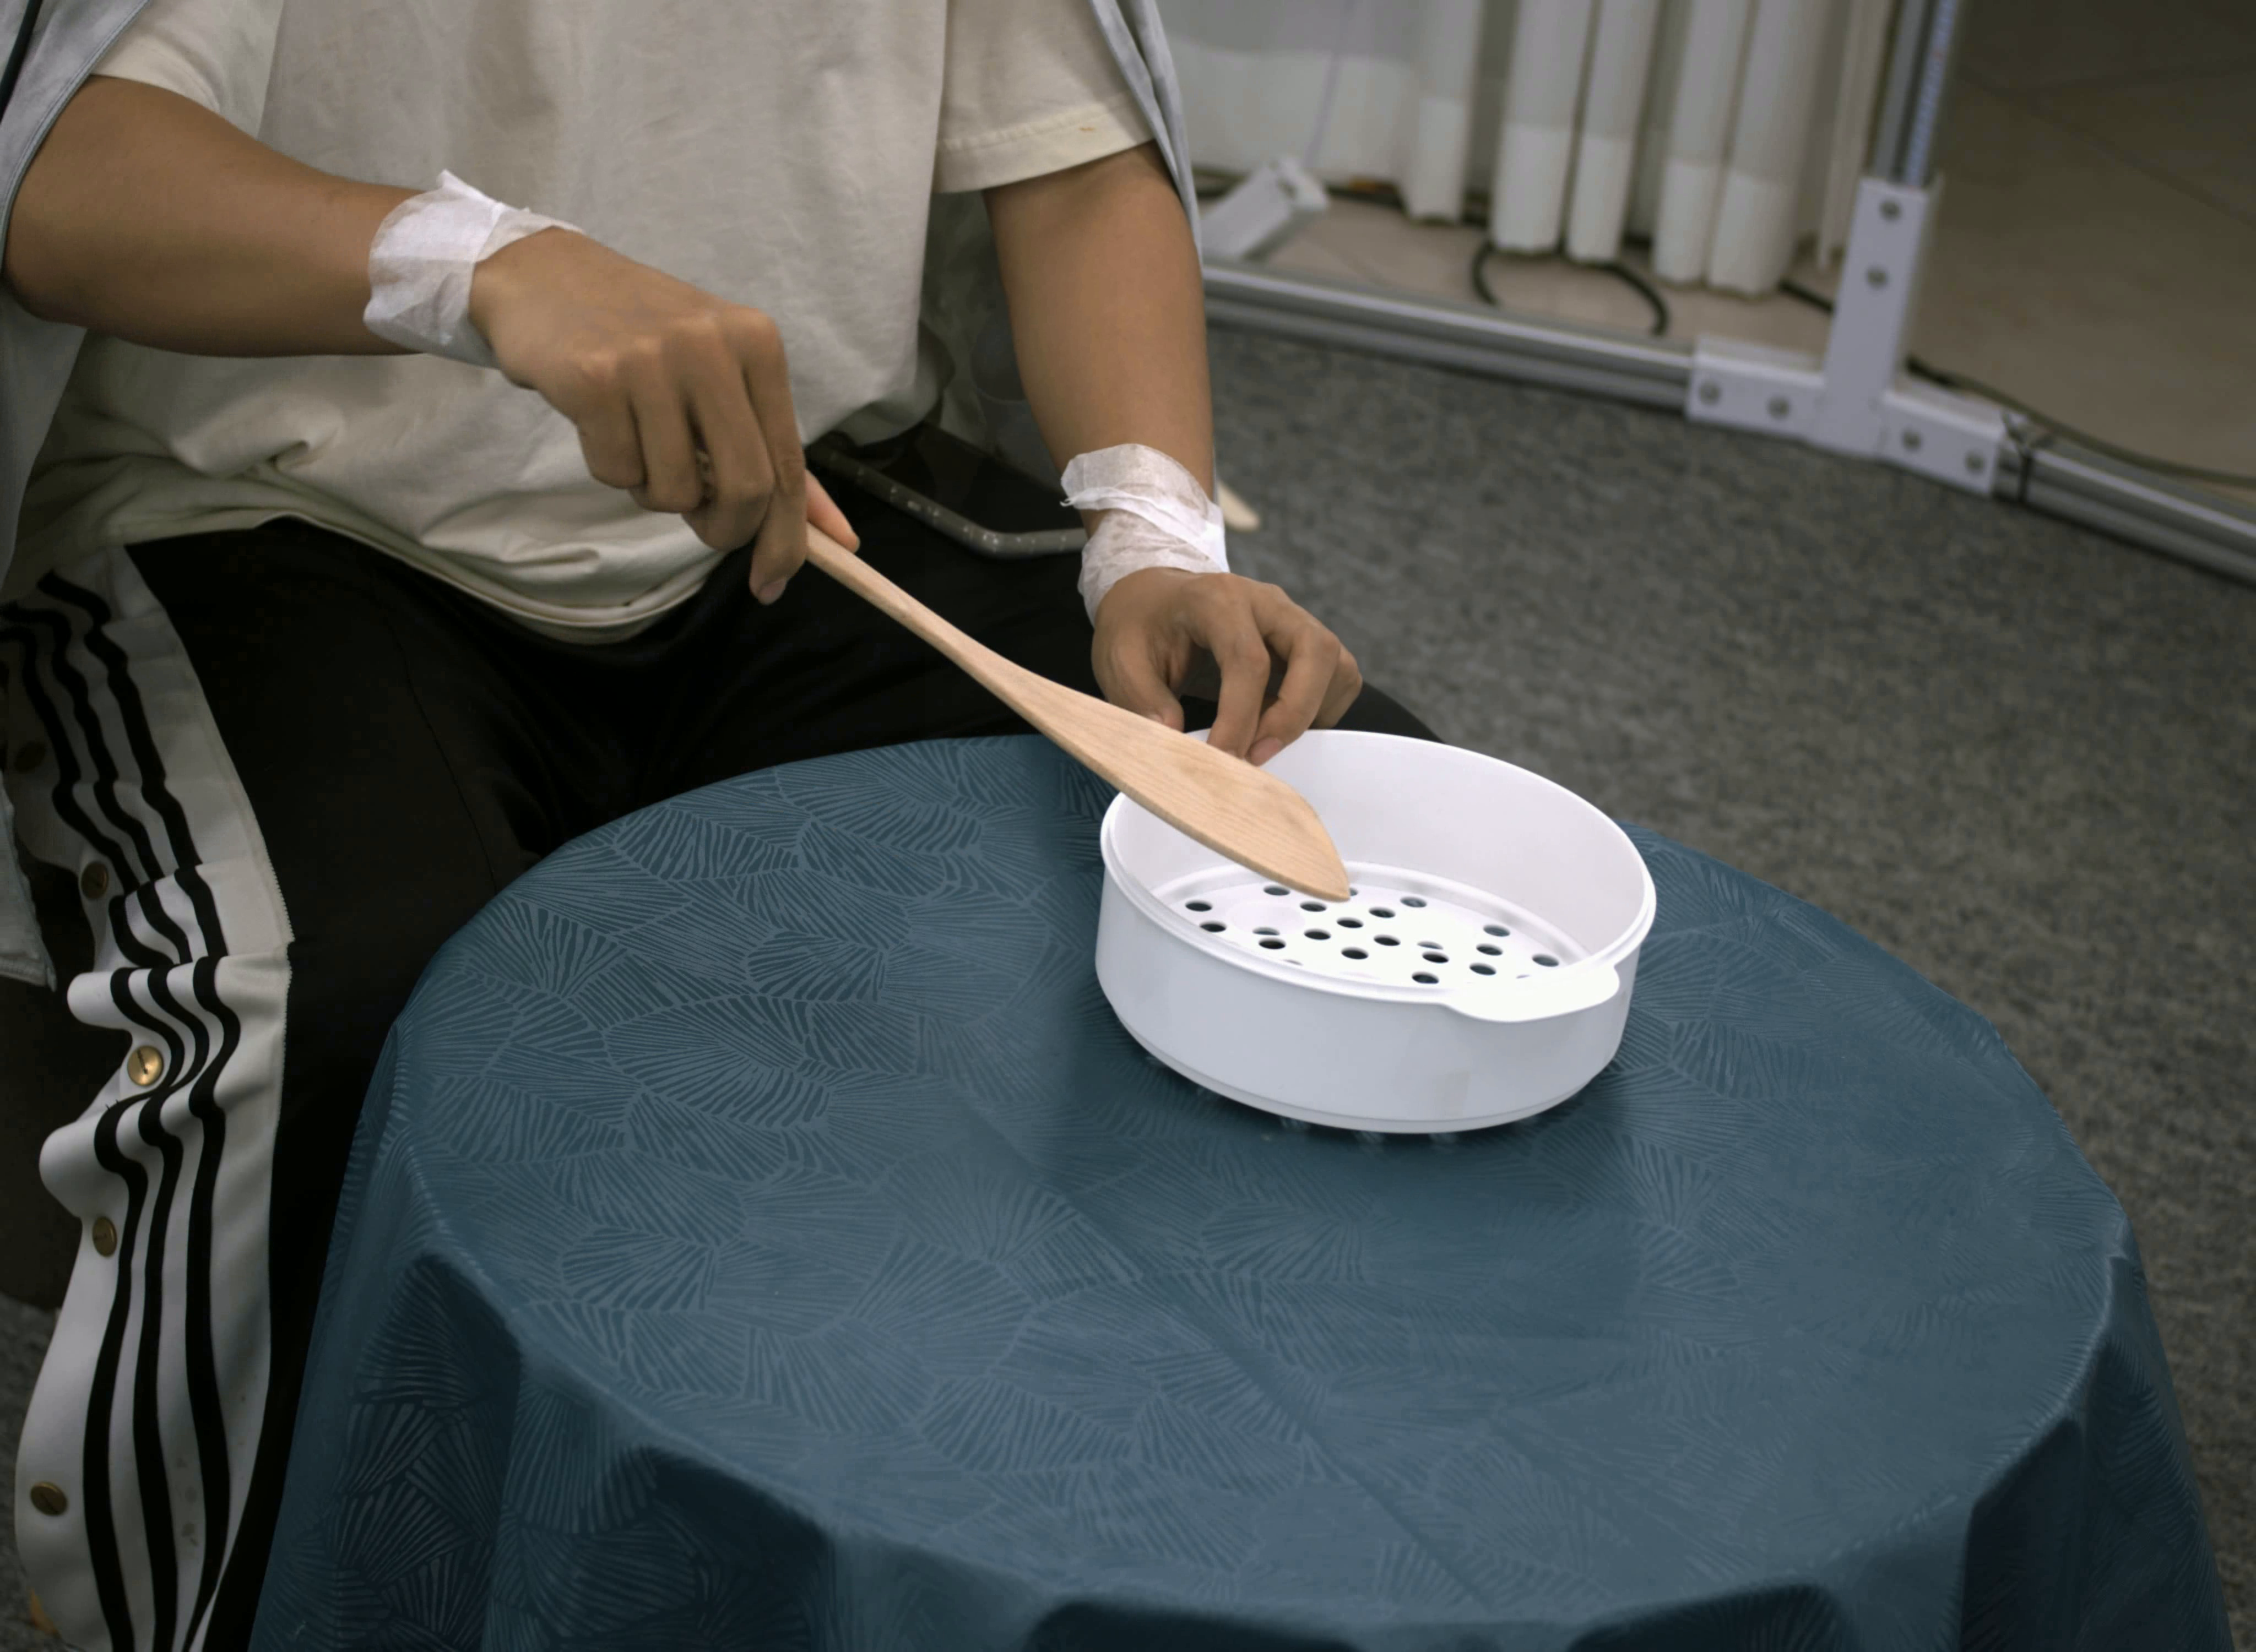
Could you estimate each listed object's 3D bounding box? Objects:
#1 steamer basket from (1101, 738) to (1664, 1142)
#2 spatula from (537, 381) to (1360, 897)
[{"bbox_3d":[0.089,0.042,1.913,0.200,0.069,0.232,-9,30,-30],"label":"steamer basket"},{"bbox_3d":[-0.060,-0.067,1.815,0.325,0.016,0.080,31,21,-16],"label":"spatula"}]
